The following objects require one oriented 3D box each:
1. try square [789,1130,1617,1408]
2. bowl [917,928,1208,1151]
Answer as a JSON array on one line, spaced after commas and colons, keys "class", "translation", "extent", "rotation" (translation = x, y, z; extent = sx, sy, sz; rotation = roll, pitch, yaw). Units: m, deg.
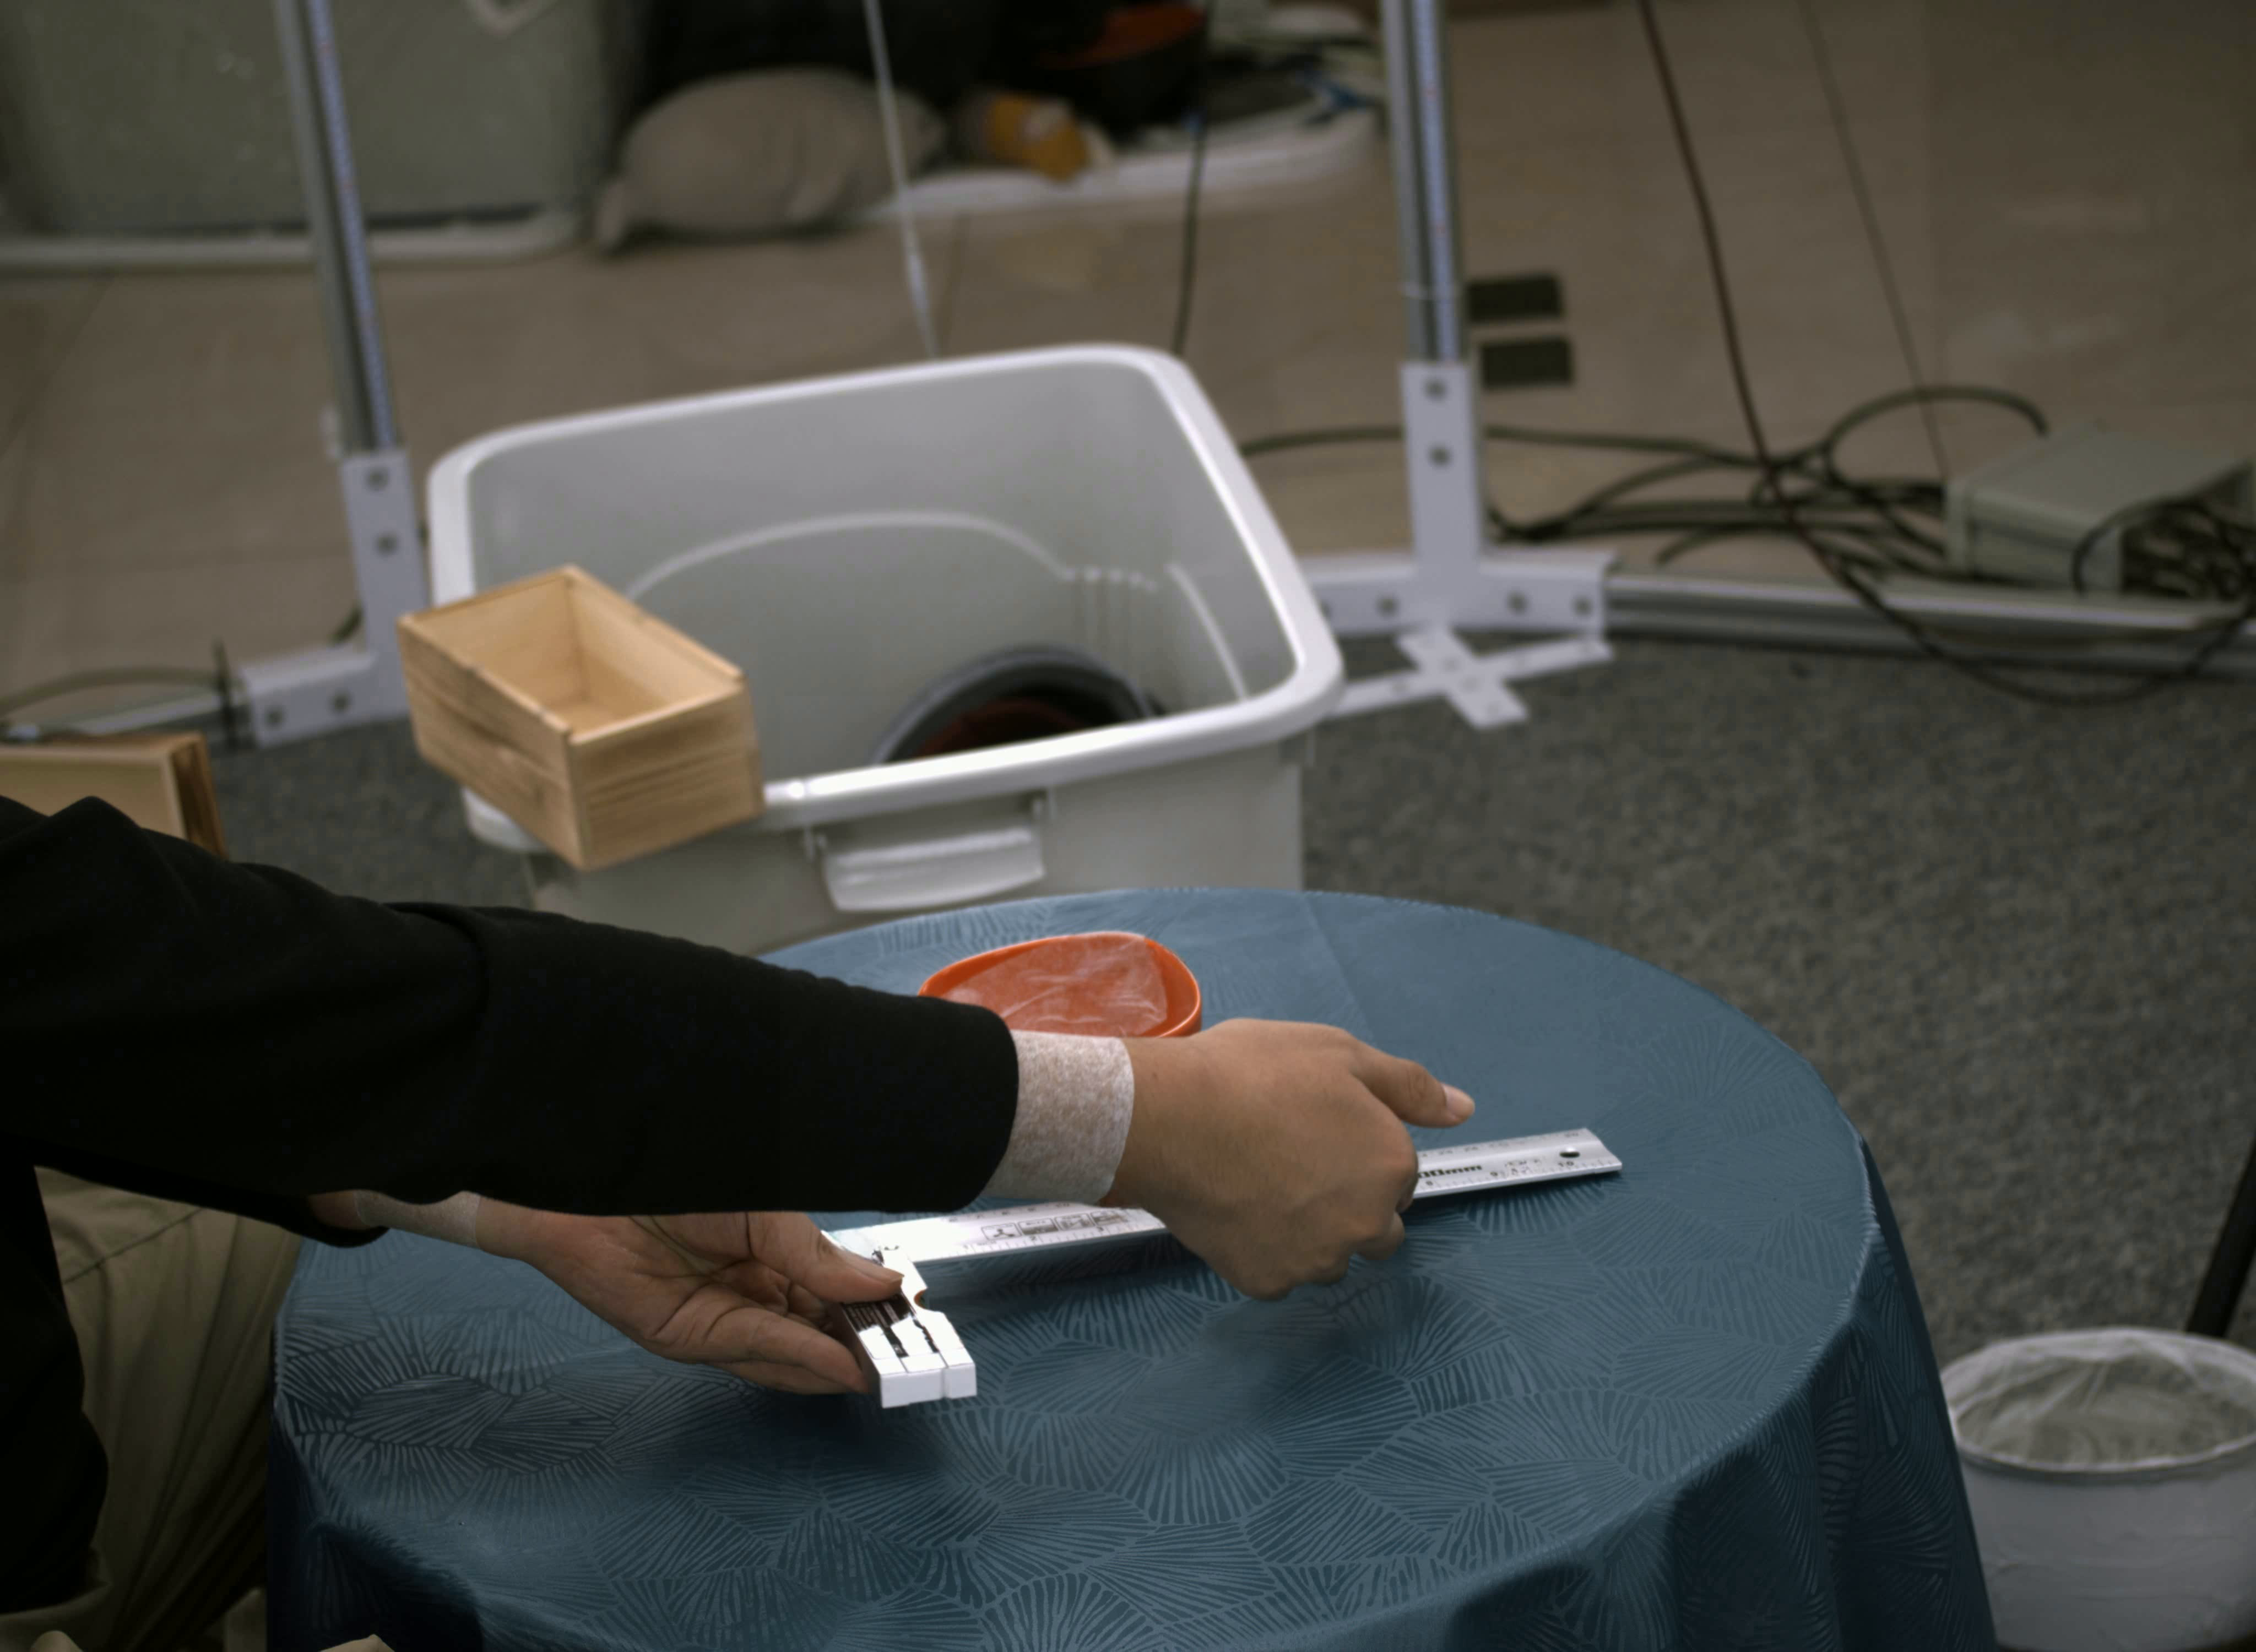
[{"class": "try square", "translation": [0.041, 0.155, 2.052], "extent": [0.312, 0.016, 0.150], "rotation": [-7, 18, -13]}, {"class": "bowl", "translation": [-0.025, 0.087, 2.199], "extent": [0.119, 0.052, 0.117], "rotation": [-2, 26, 1]}]
